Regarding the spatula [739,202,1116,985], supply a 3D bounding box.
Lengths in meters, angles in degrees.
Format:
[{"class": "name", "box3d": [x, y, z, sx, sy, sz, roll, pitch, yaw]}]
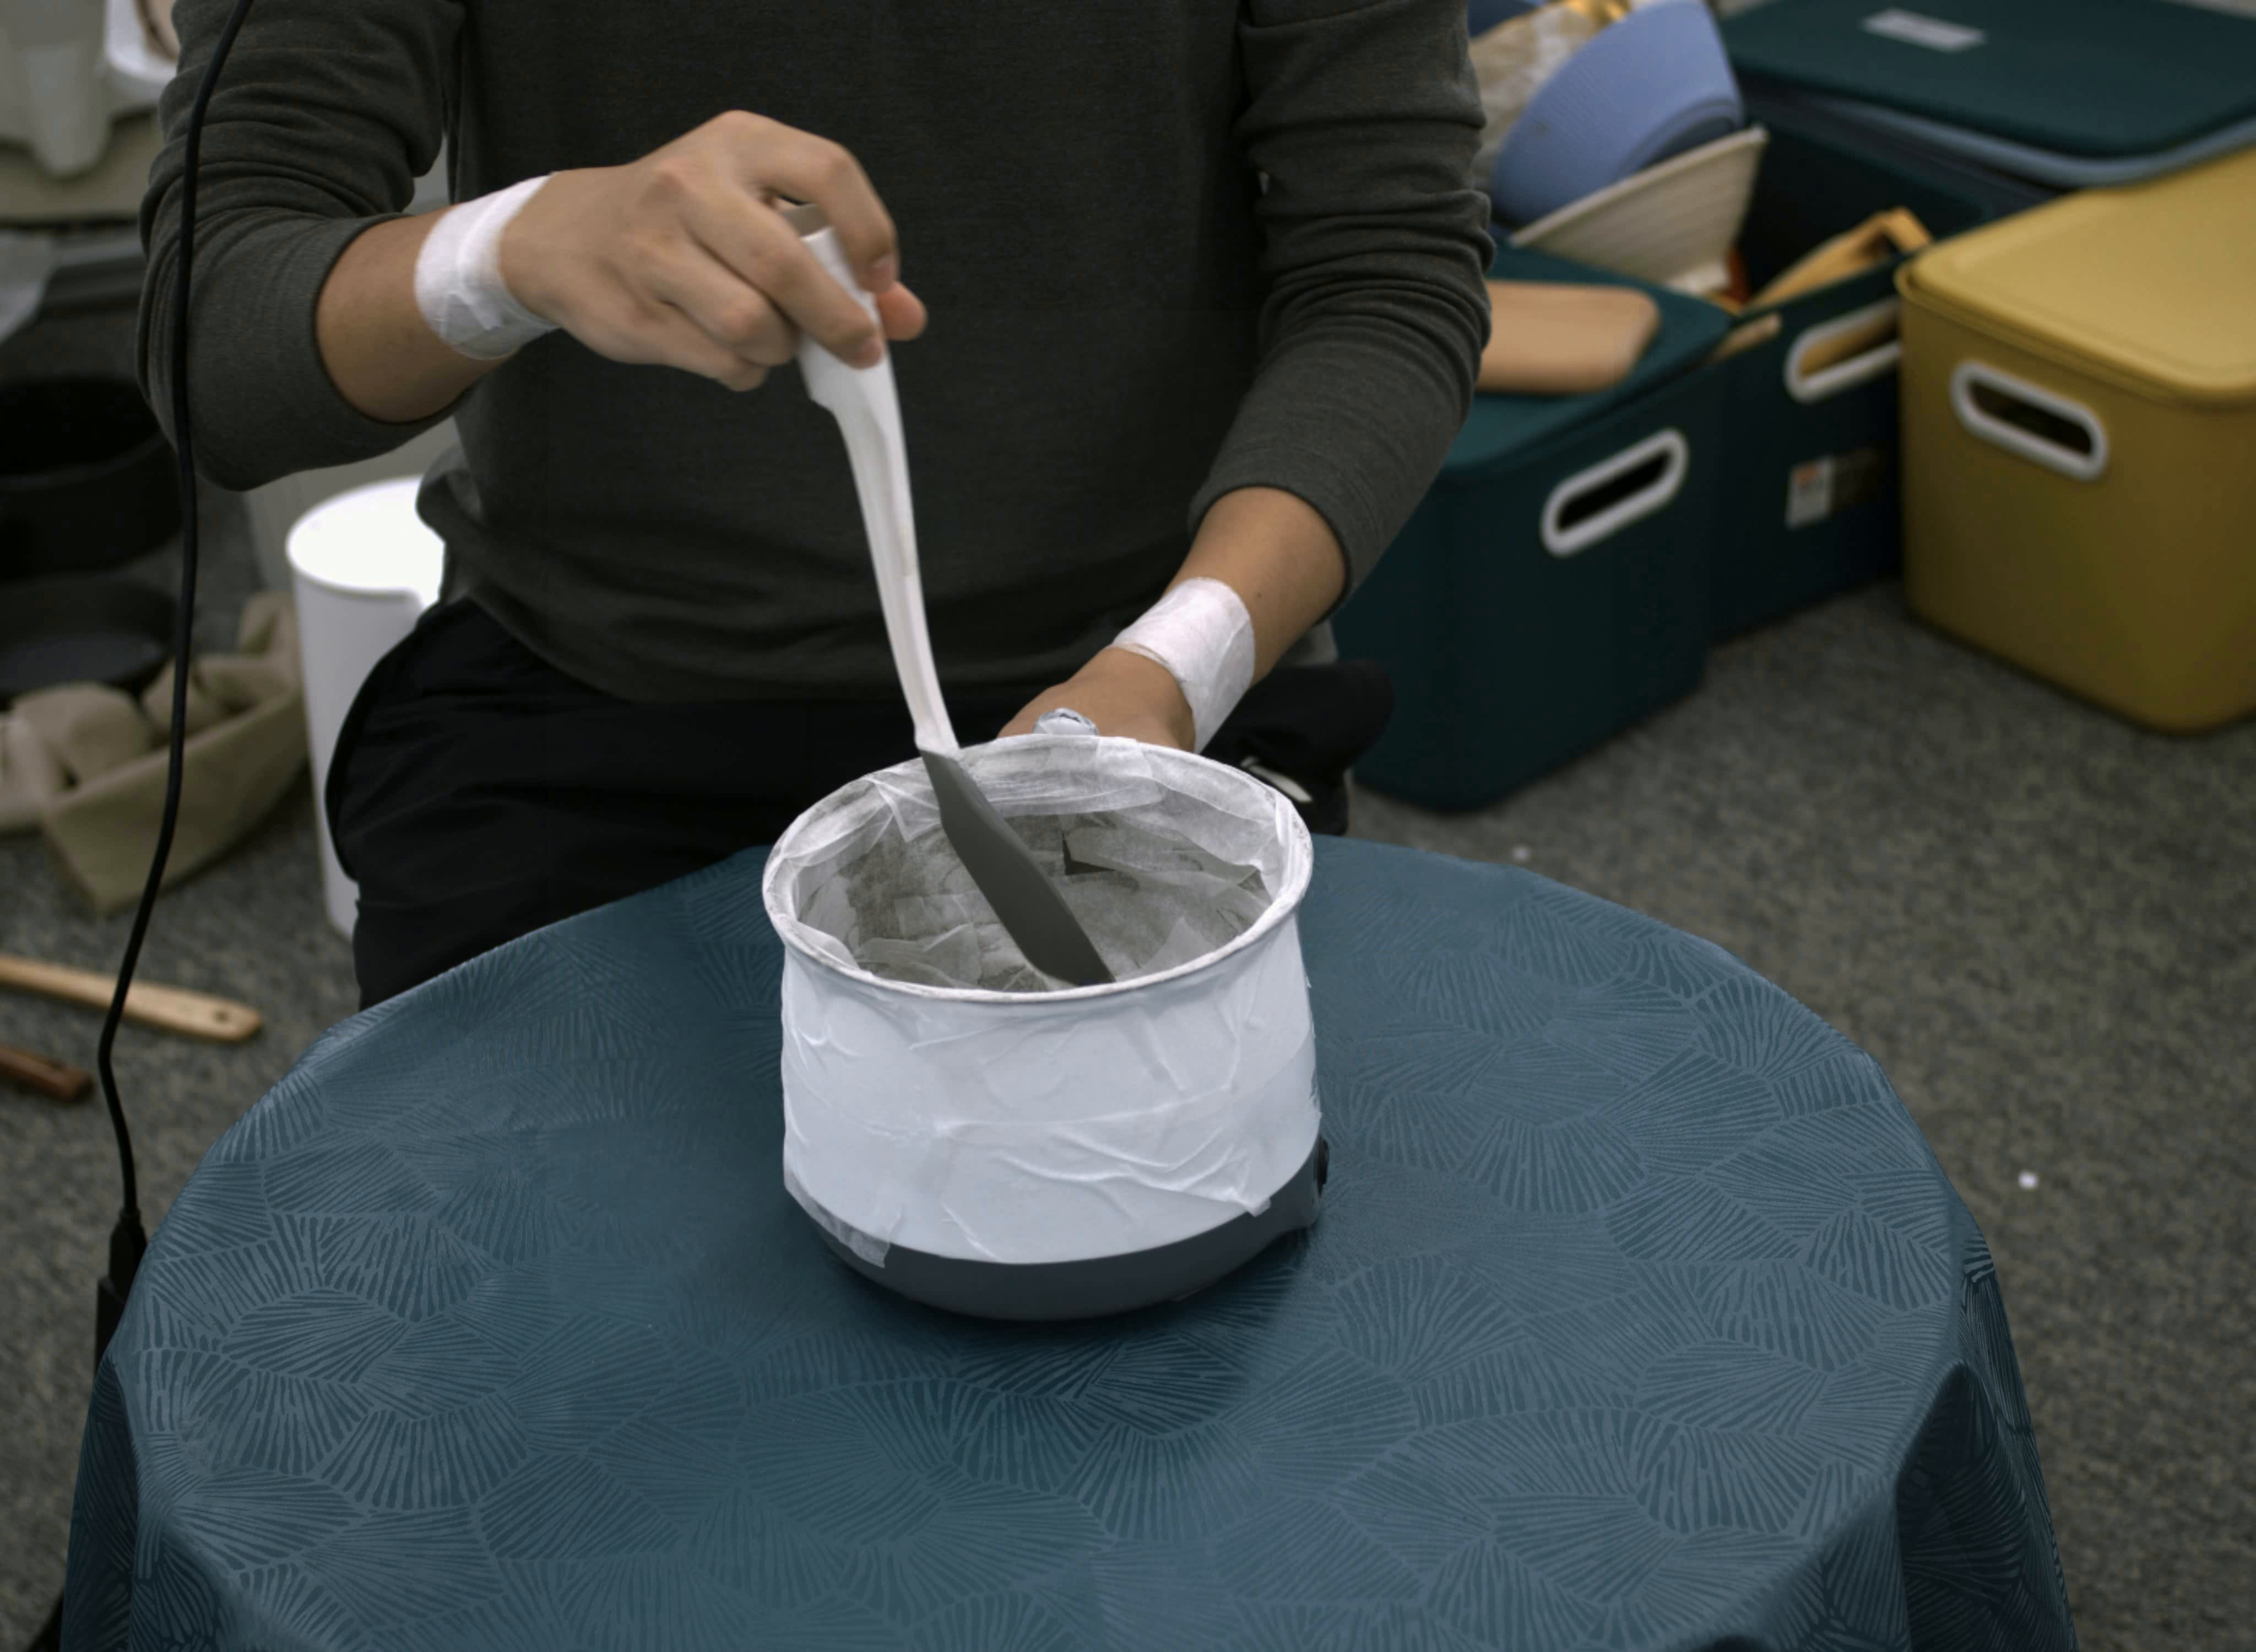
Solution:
[{"class": "spatula", "box3d": [-0.063, -0.064, 1.807, 0.032, 0.285, 0.058, -33, 27, -29]}]

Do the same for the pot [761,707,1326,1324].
[{"class": "pot", "box3d": [-0.025, 0.055, 1.847, 0.178, 0.135, 0.237, -1, 27, 3]}]
